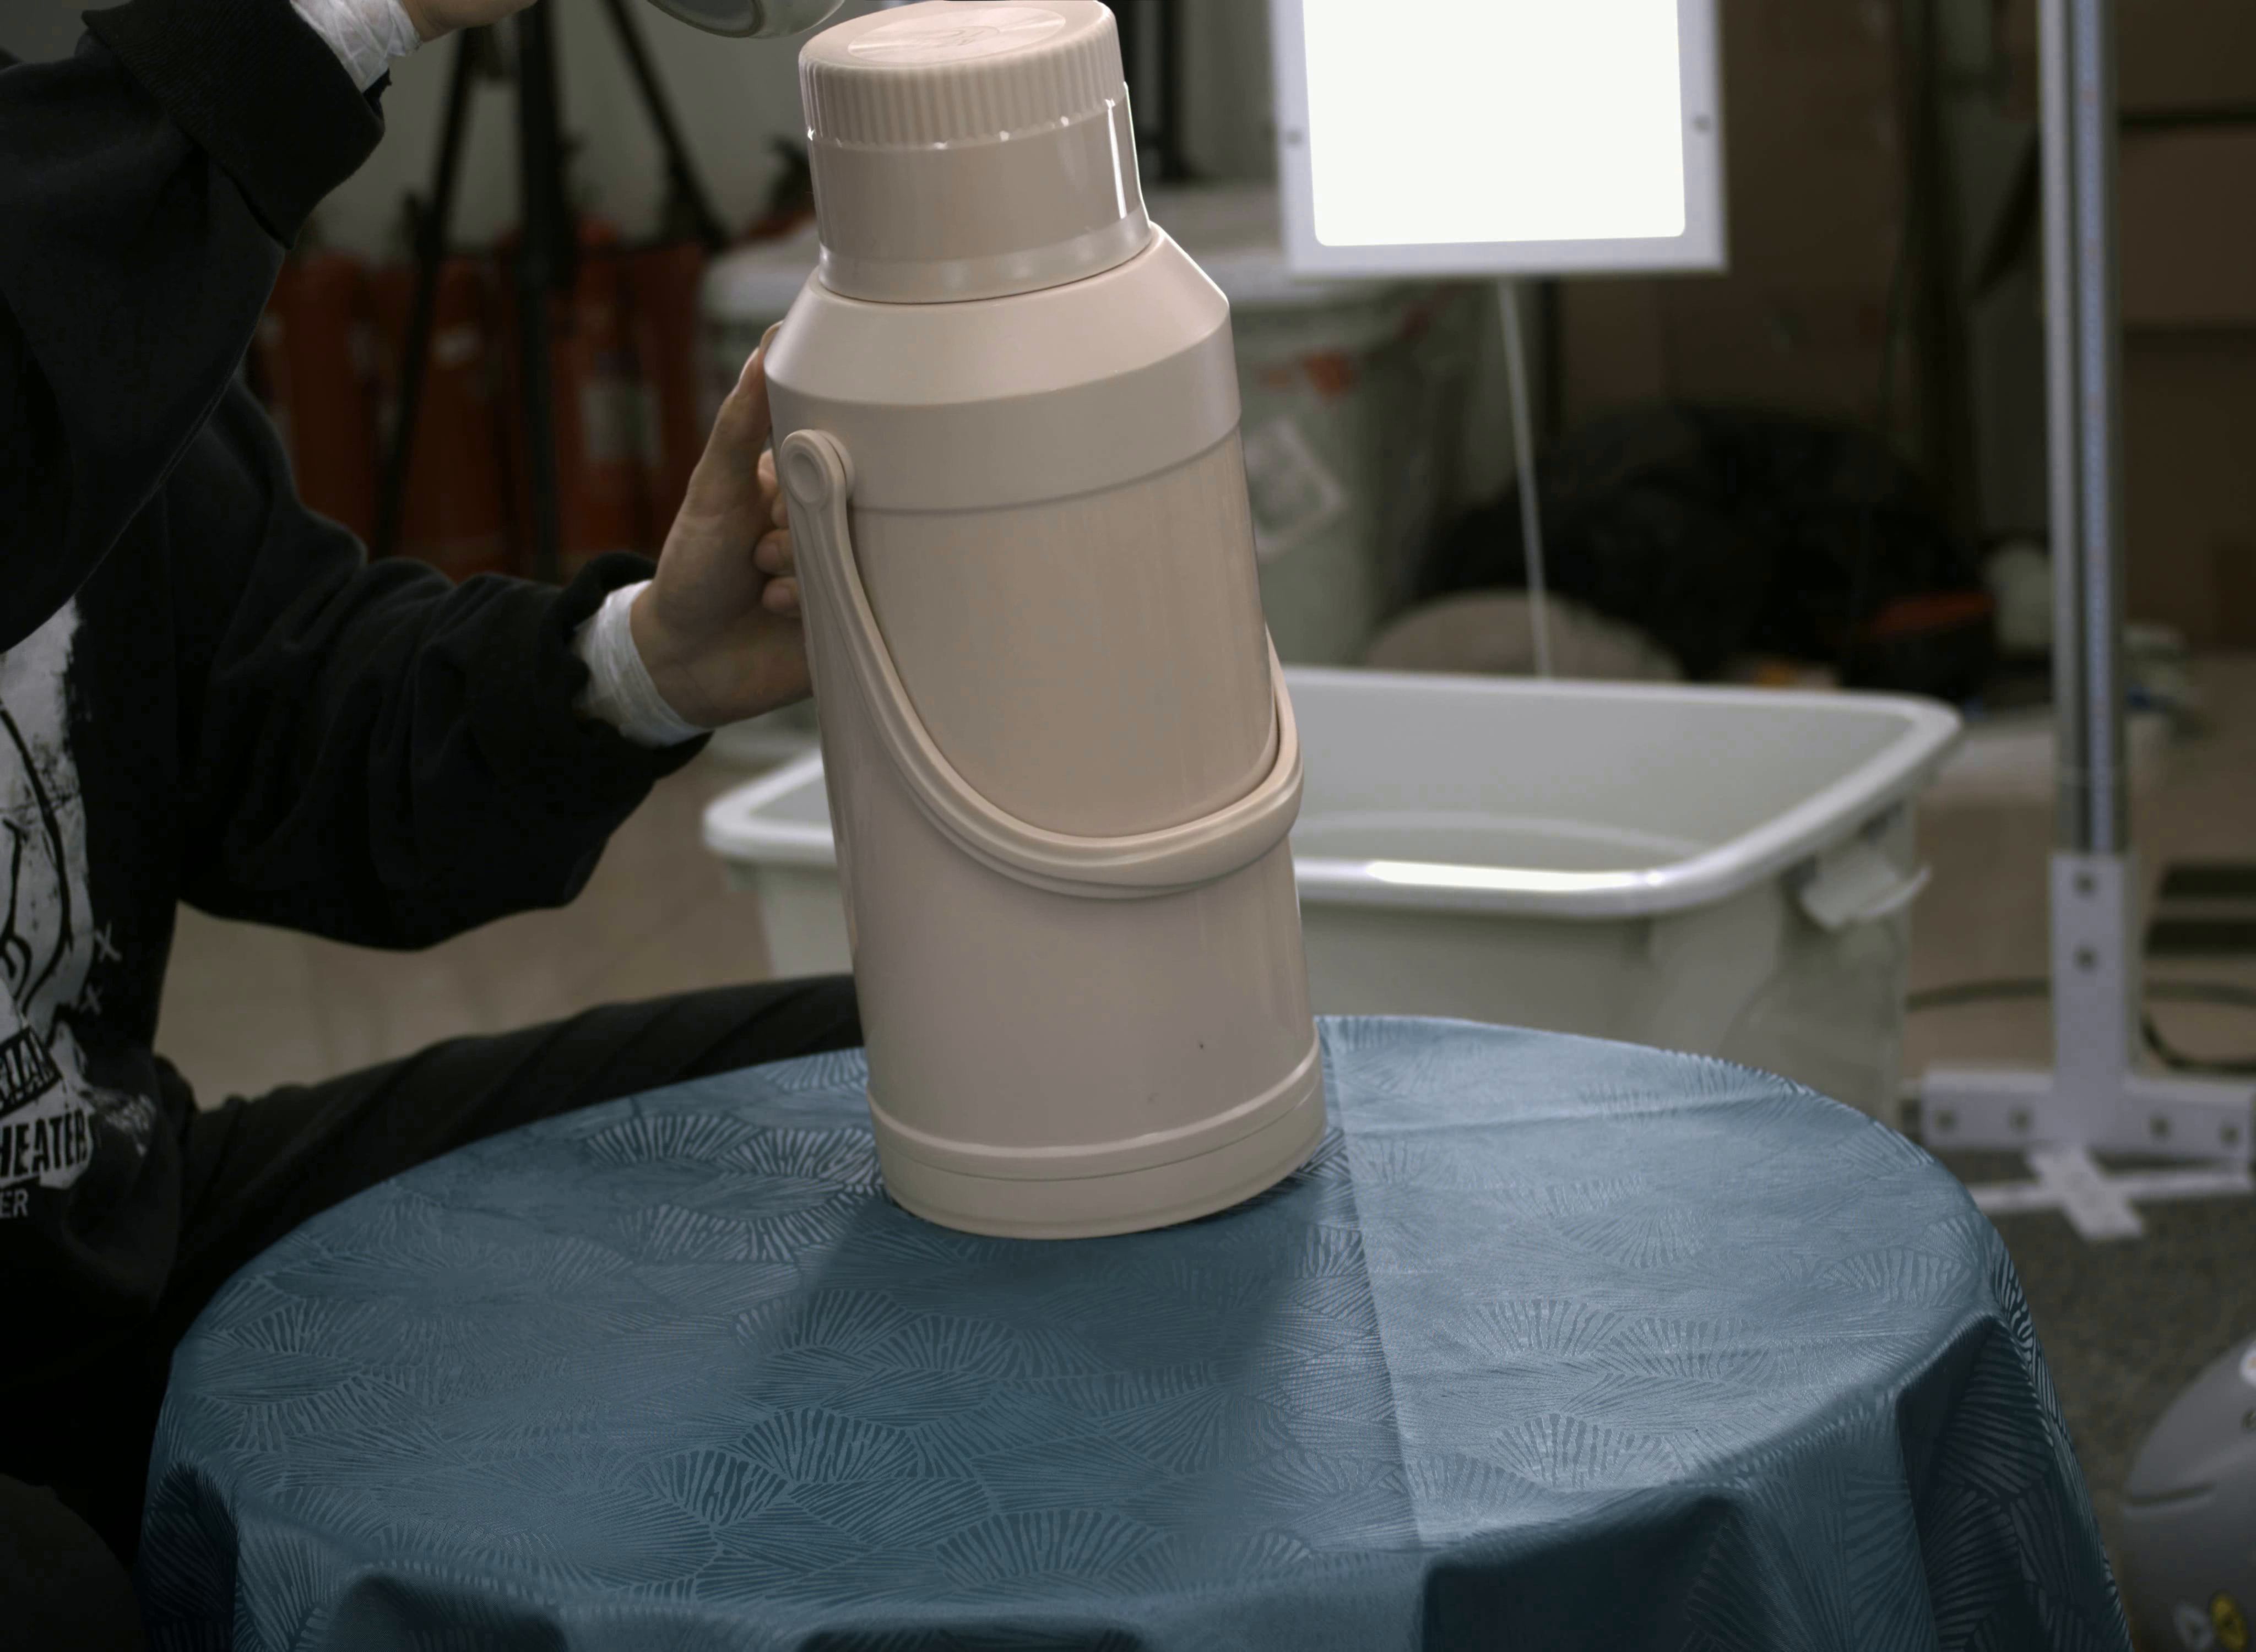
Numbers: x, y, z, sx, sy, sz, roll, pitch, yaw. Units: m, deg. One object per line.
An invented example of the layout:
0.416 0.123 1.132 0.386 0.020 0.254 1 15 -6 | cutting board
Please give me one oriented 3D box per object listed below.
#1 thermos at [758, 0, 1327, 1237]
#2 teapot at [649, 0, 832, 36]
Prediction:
-0.041 -0.076 1.870 0.171 0.407 0.211 -25 27 -36 | thermos
-0.130 -0.291 1.707 0.093 0.127 0.059 22 70 33 | teapot
